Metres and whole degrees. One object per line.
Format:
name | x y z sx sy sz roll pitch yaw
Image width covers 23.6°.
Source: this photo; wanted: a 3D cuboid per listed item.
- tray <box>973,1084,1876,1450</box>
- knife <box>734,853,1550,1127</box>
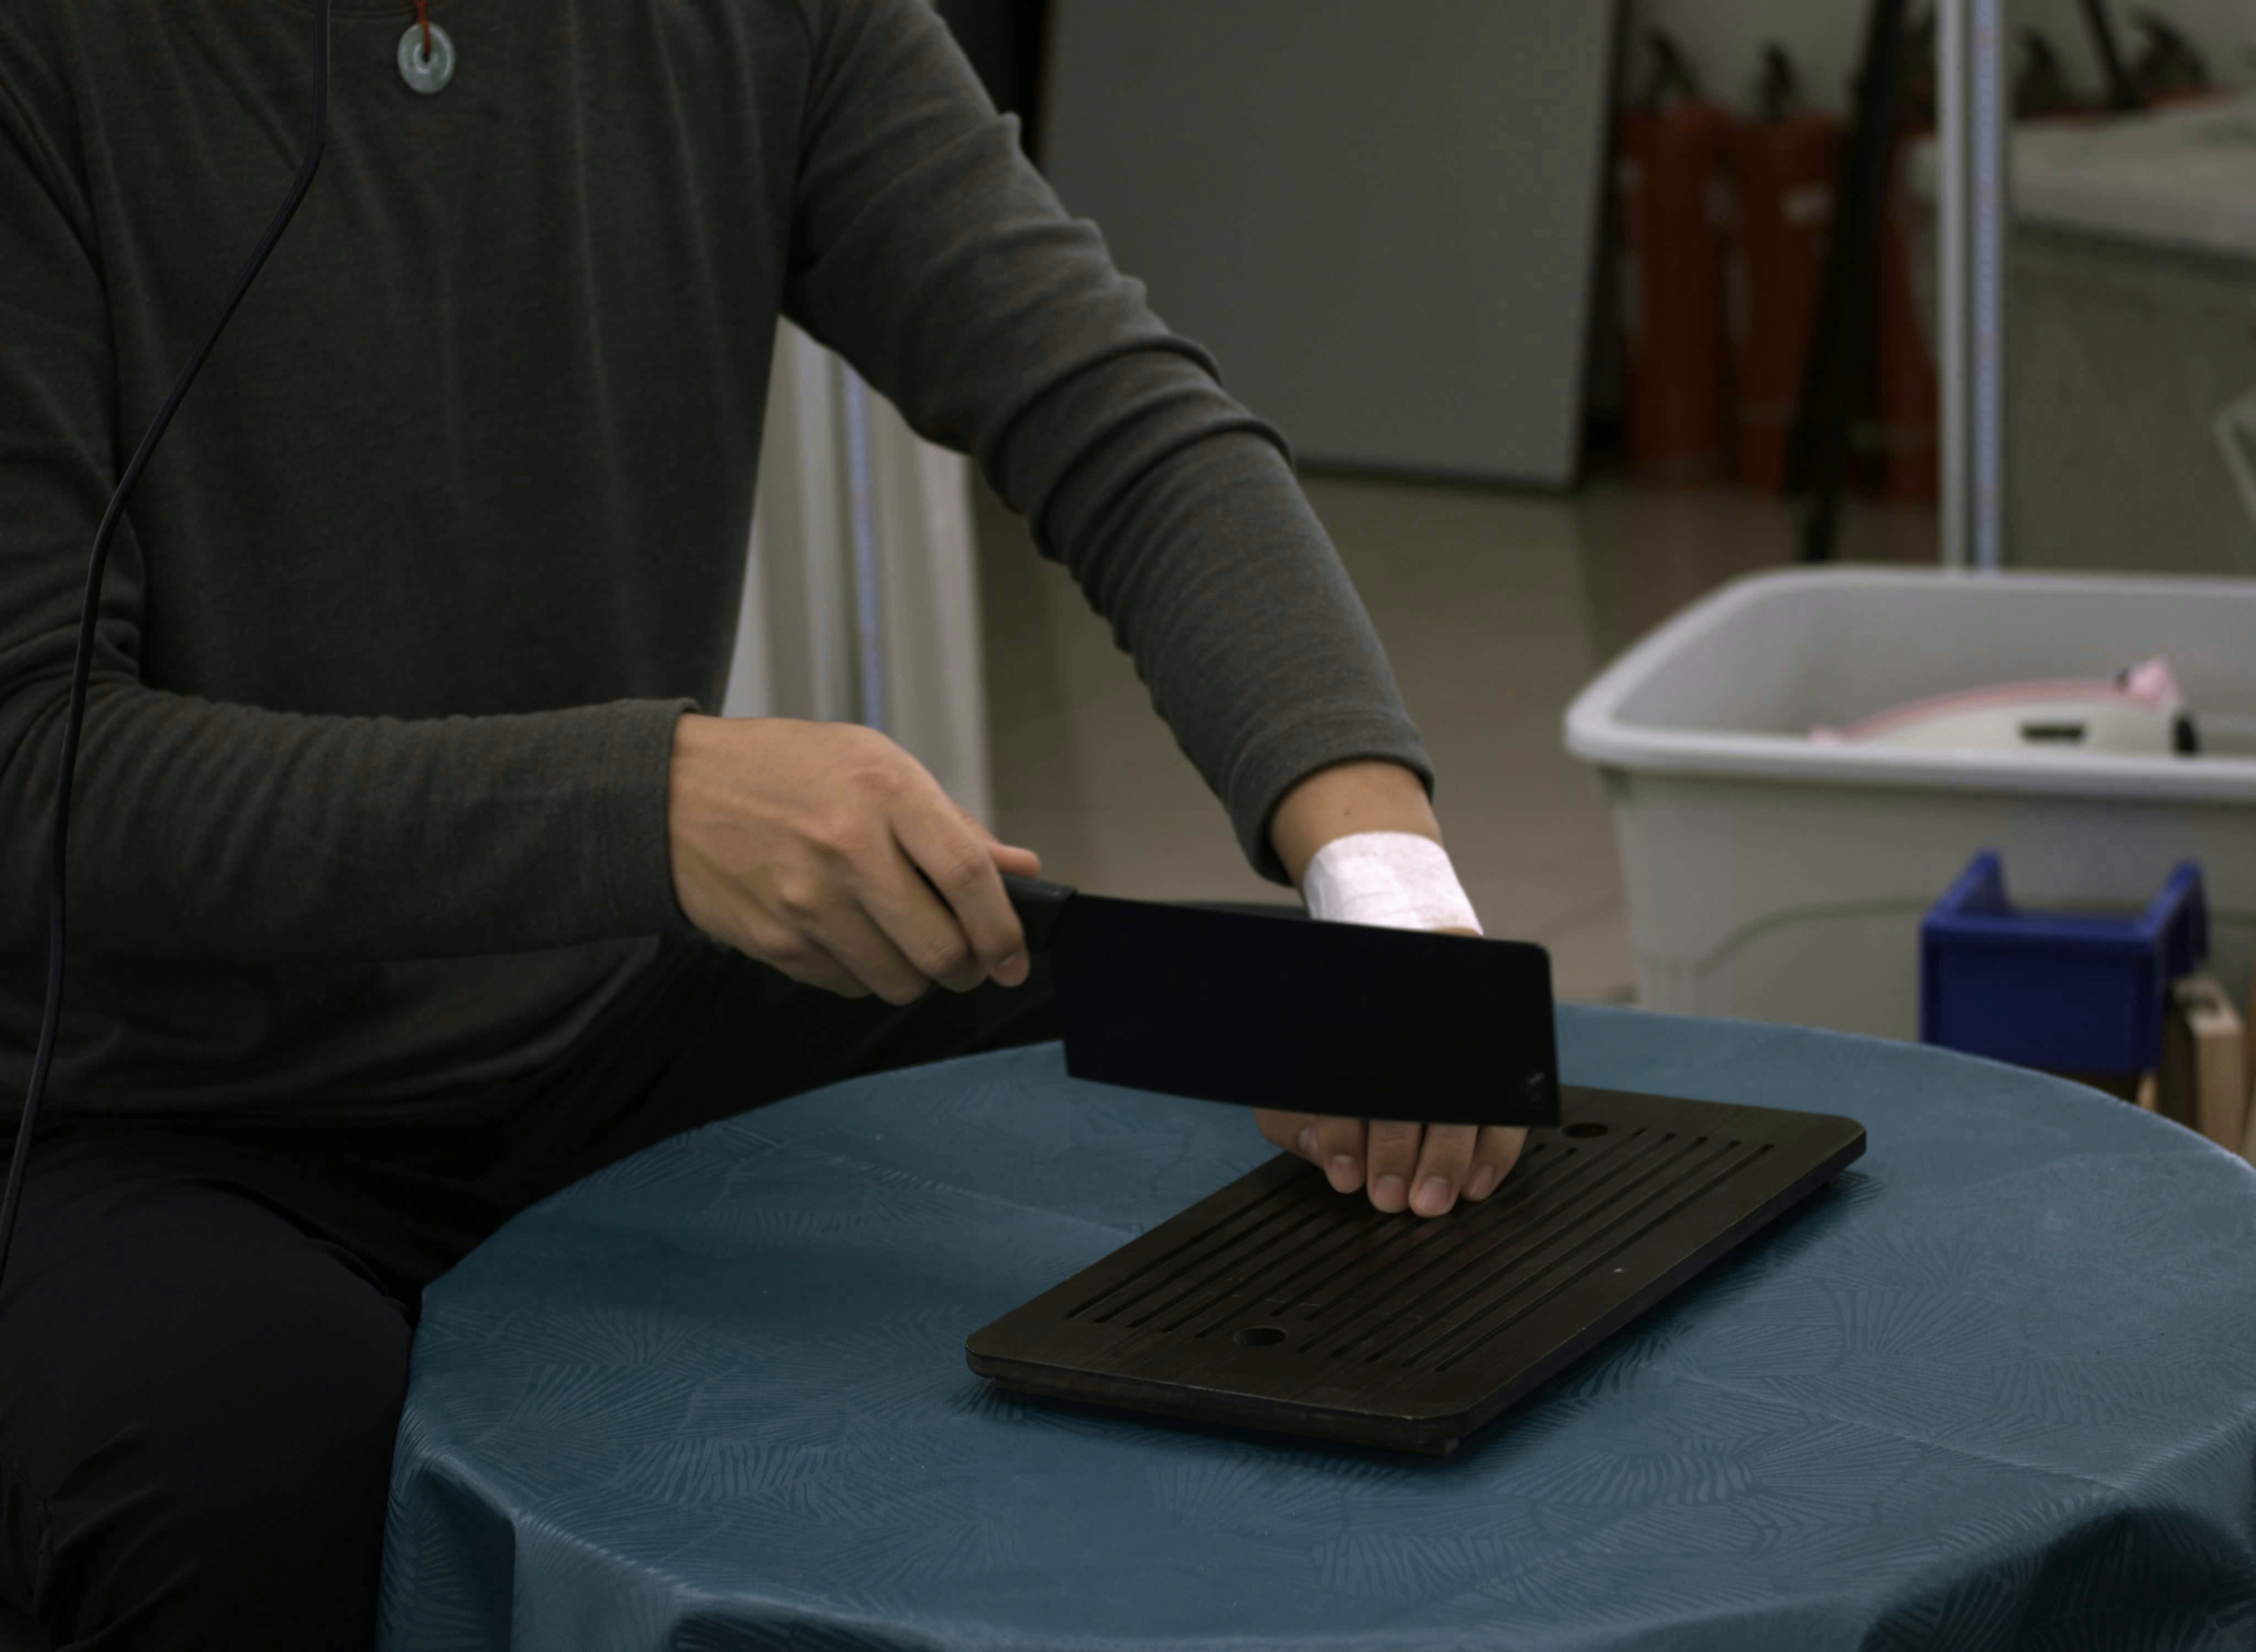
tray | 0.098 0.132 1.662 0.171 0.019 0.301 4 15 32
knife | 0.000 0.049 1.696 0.304 0.082 0.020 10 24 32
